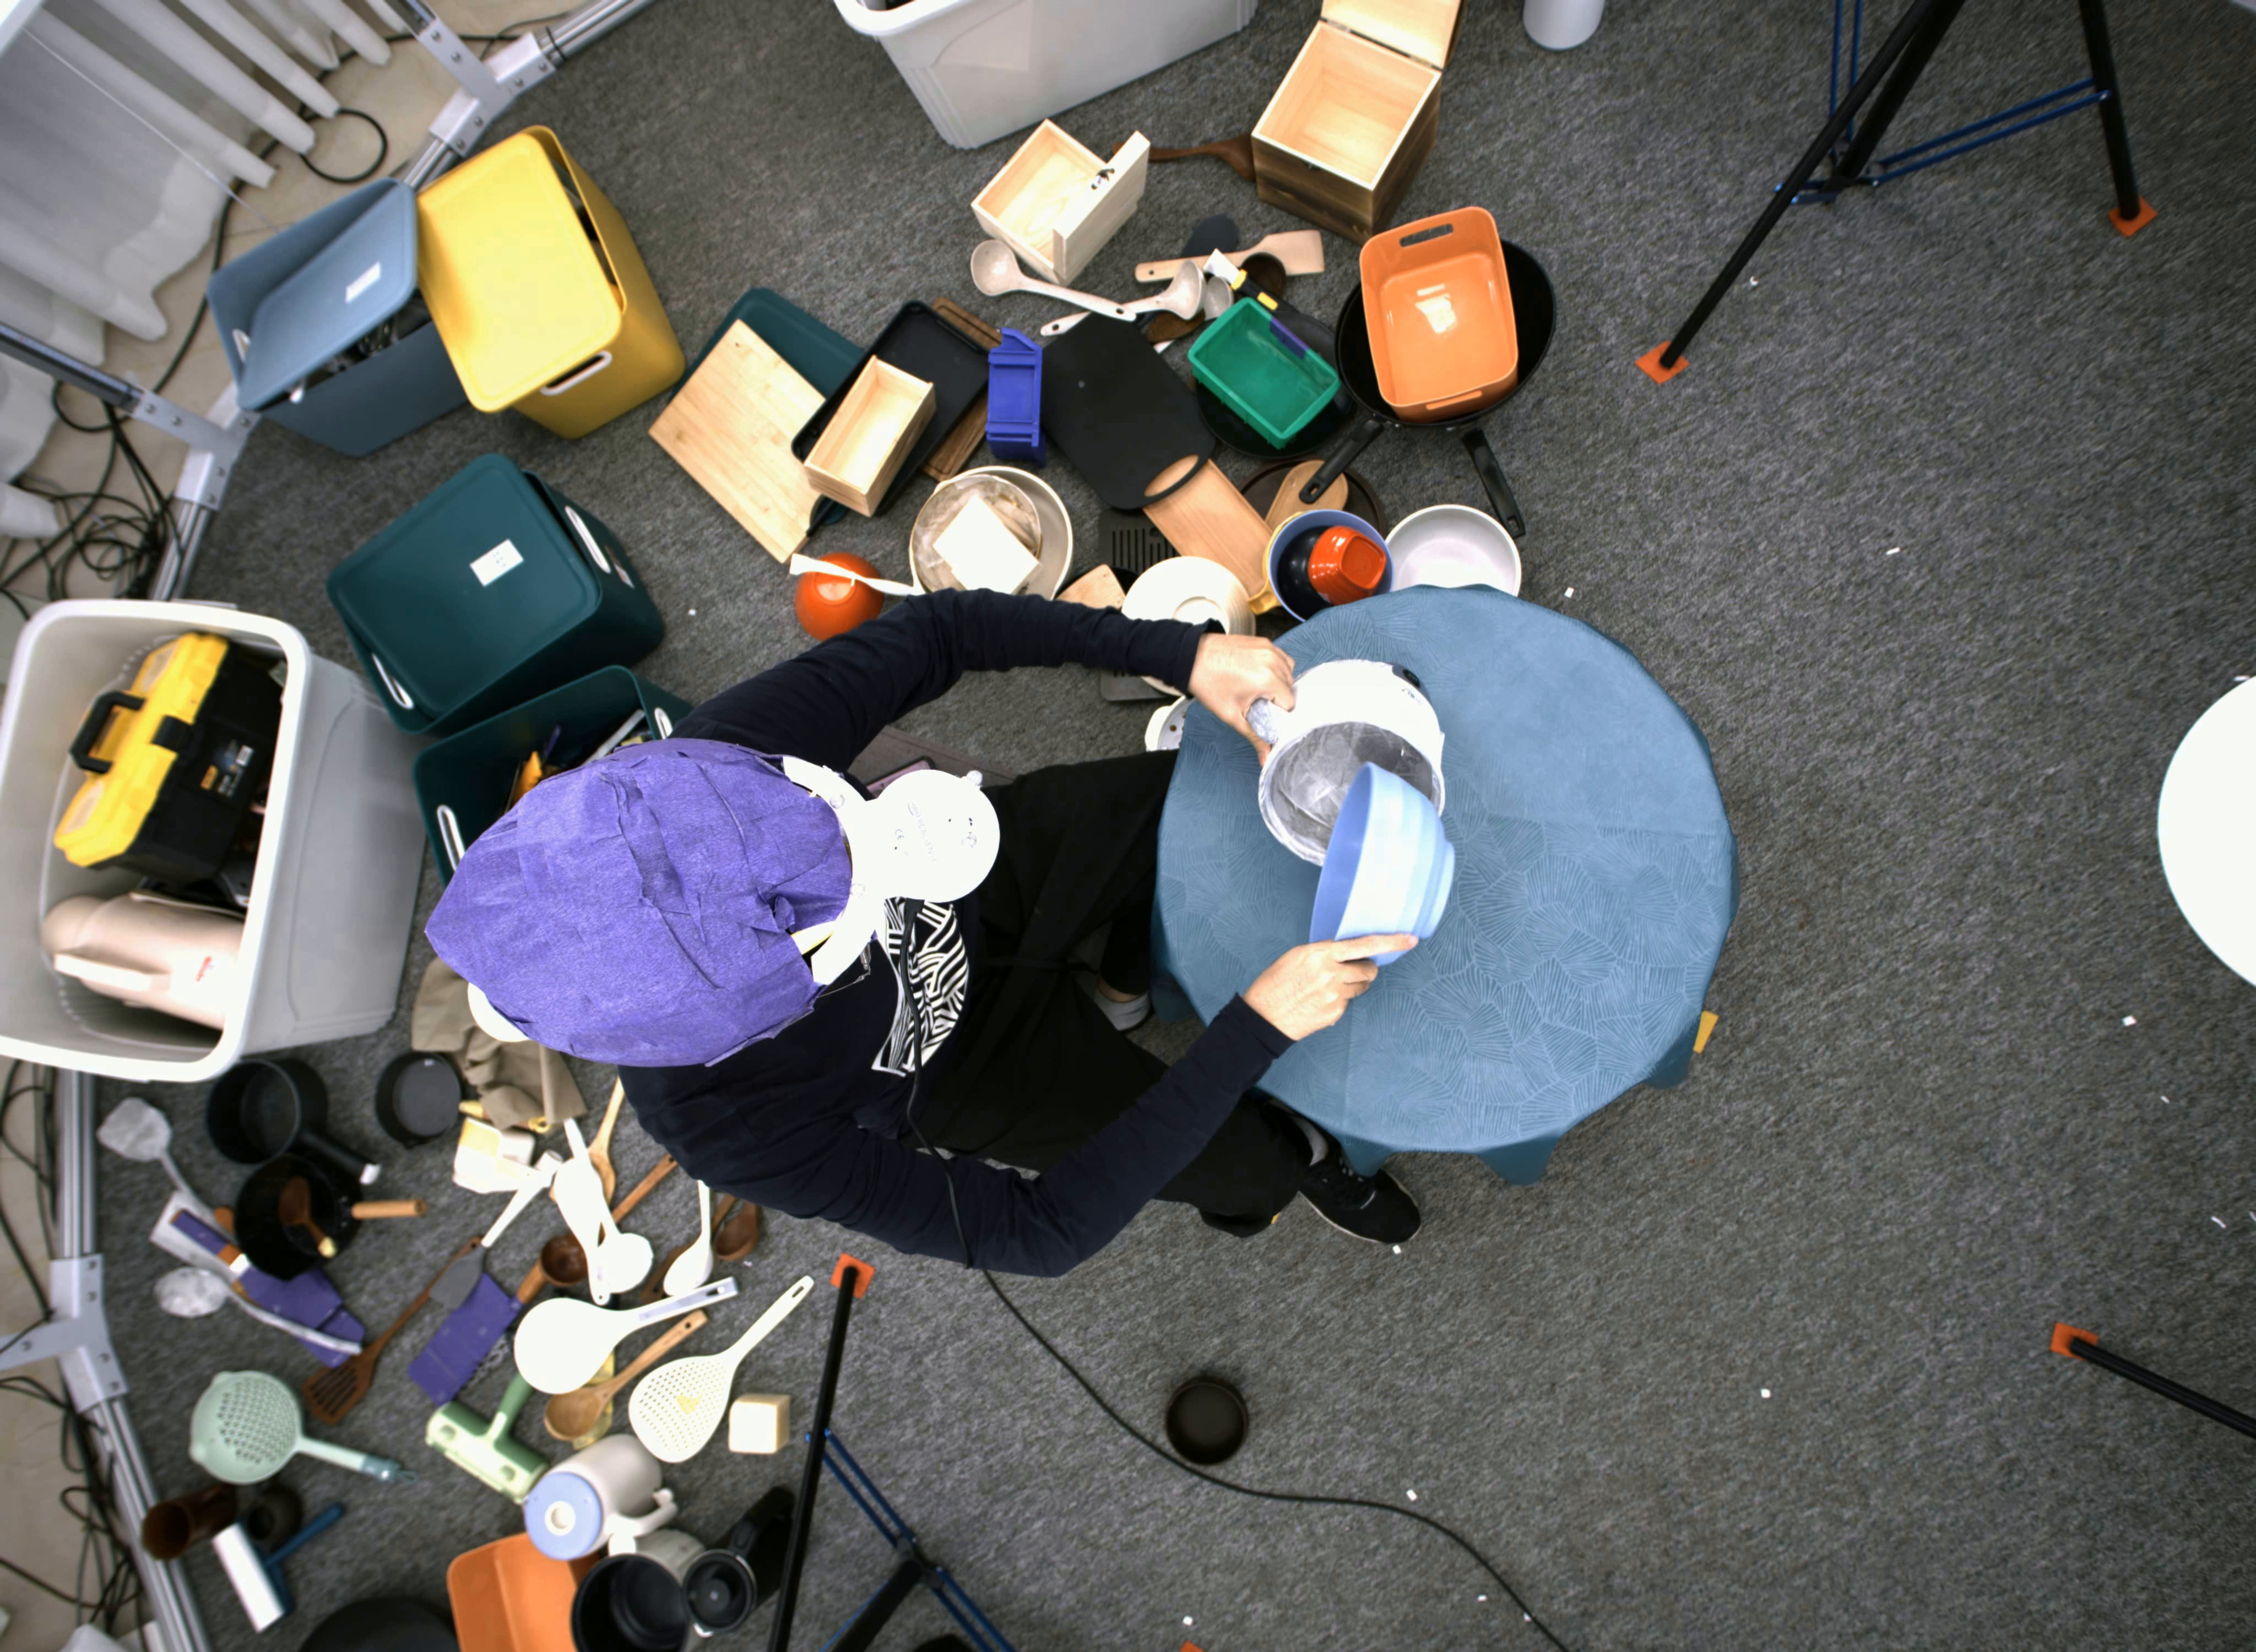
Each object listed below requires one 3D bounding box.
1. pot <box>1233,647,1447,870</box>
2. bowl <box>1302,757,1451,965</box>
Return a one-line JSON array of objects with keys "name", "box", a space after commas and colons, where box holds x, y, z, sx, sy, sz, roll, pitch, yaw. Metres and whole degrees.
[{"name": "pot", "box": [0.198, -0.081, 1.353, 0.235, 0.133, 0.182, 33, 123, -16]}, {"name": "bowl", "box": [0.235, 0.042, 1.270, 0.095, 0.197, 0.196, 15, 88, -4]}]
